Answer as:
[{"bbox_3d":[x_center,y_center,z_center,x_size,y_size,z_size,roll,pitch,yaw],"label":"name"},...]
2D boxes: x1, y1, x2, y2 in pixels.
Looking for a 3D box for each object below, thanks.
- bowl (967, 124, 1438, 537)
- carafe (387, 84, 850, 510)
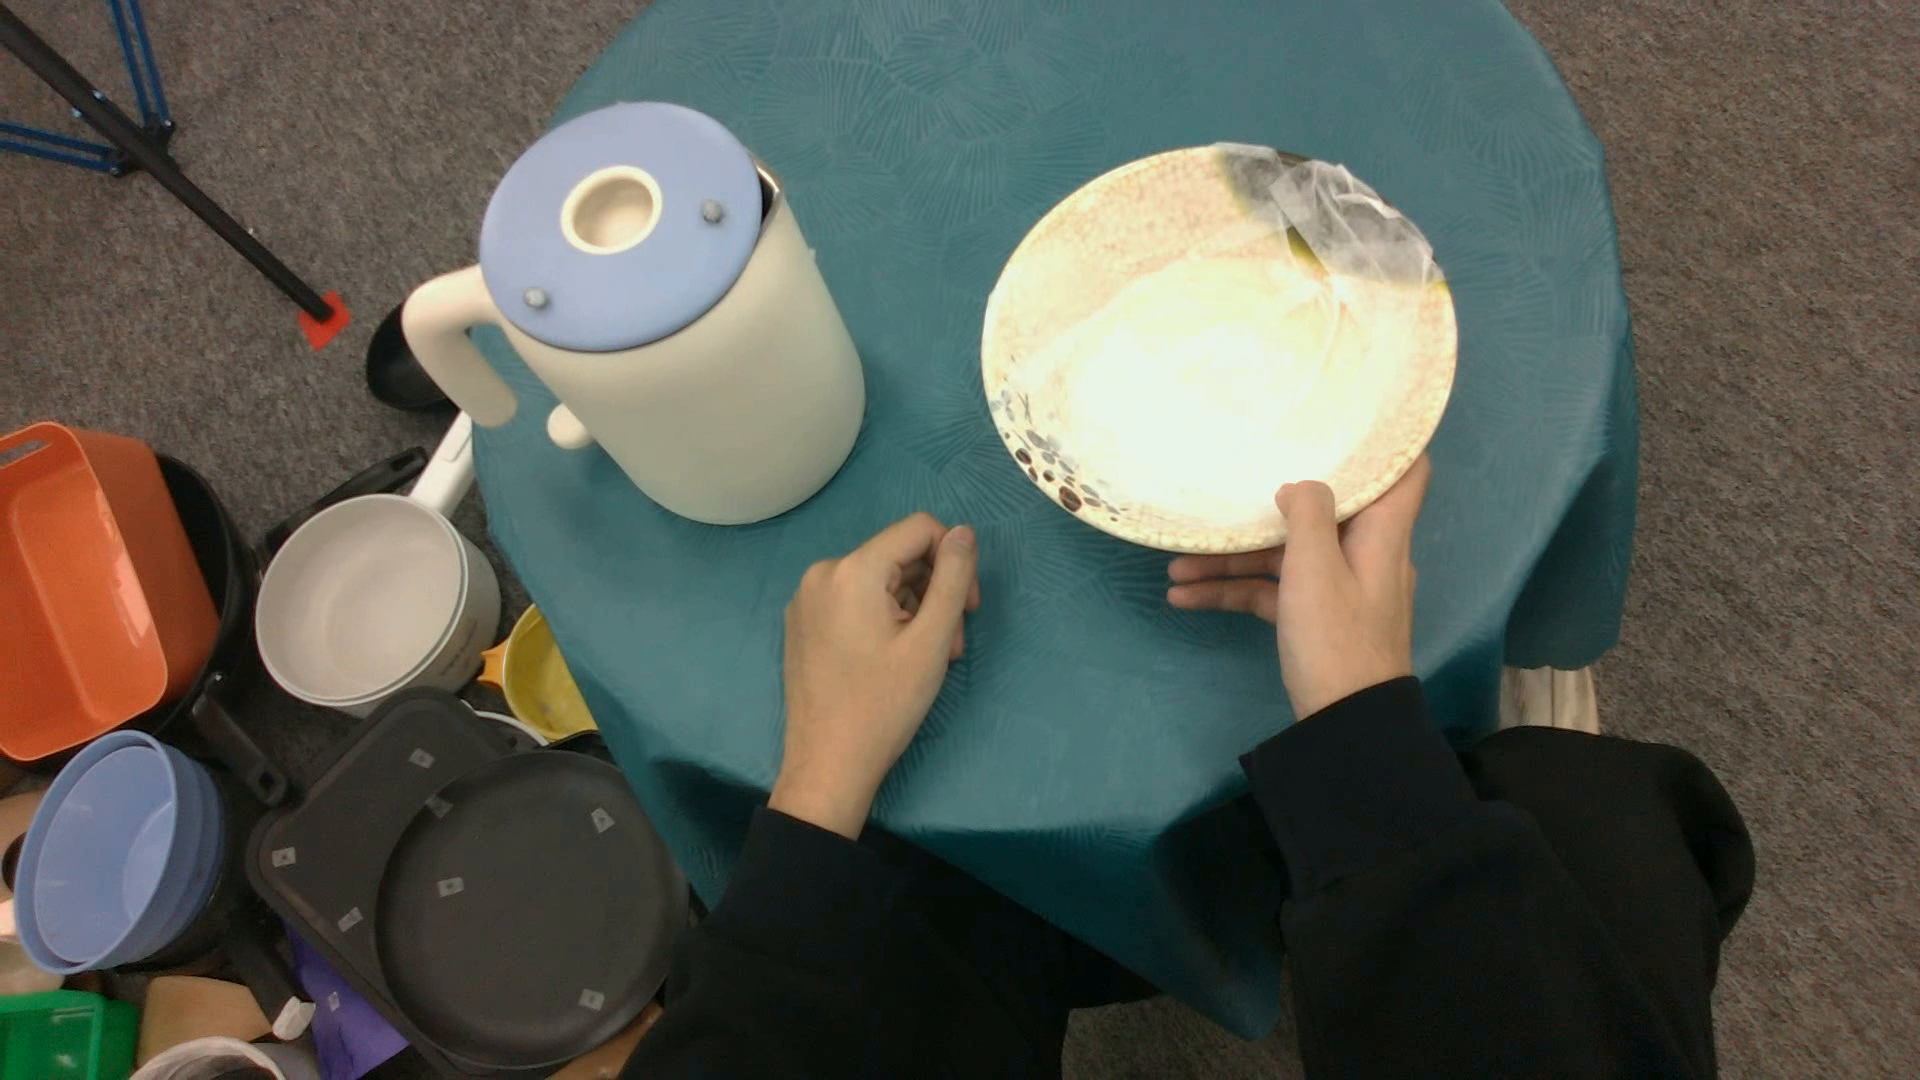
[{"bbox_3d":[0.109,-0.085,0.637,0.204,0.078,0.204,-3,69,9],"label":"bowl"},{"bbox_3d":[-0.155,-0.098,0.632,0.191,0.182,0.132,-15,65,5],"label":"carafe"}]
